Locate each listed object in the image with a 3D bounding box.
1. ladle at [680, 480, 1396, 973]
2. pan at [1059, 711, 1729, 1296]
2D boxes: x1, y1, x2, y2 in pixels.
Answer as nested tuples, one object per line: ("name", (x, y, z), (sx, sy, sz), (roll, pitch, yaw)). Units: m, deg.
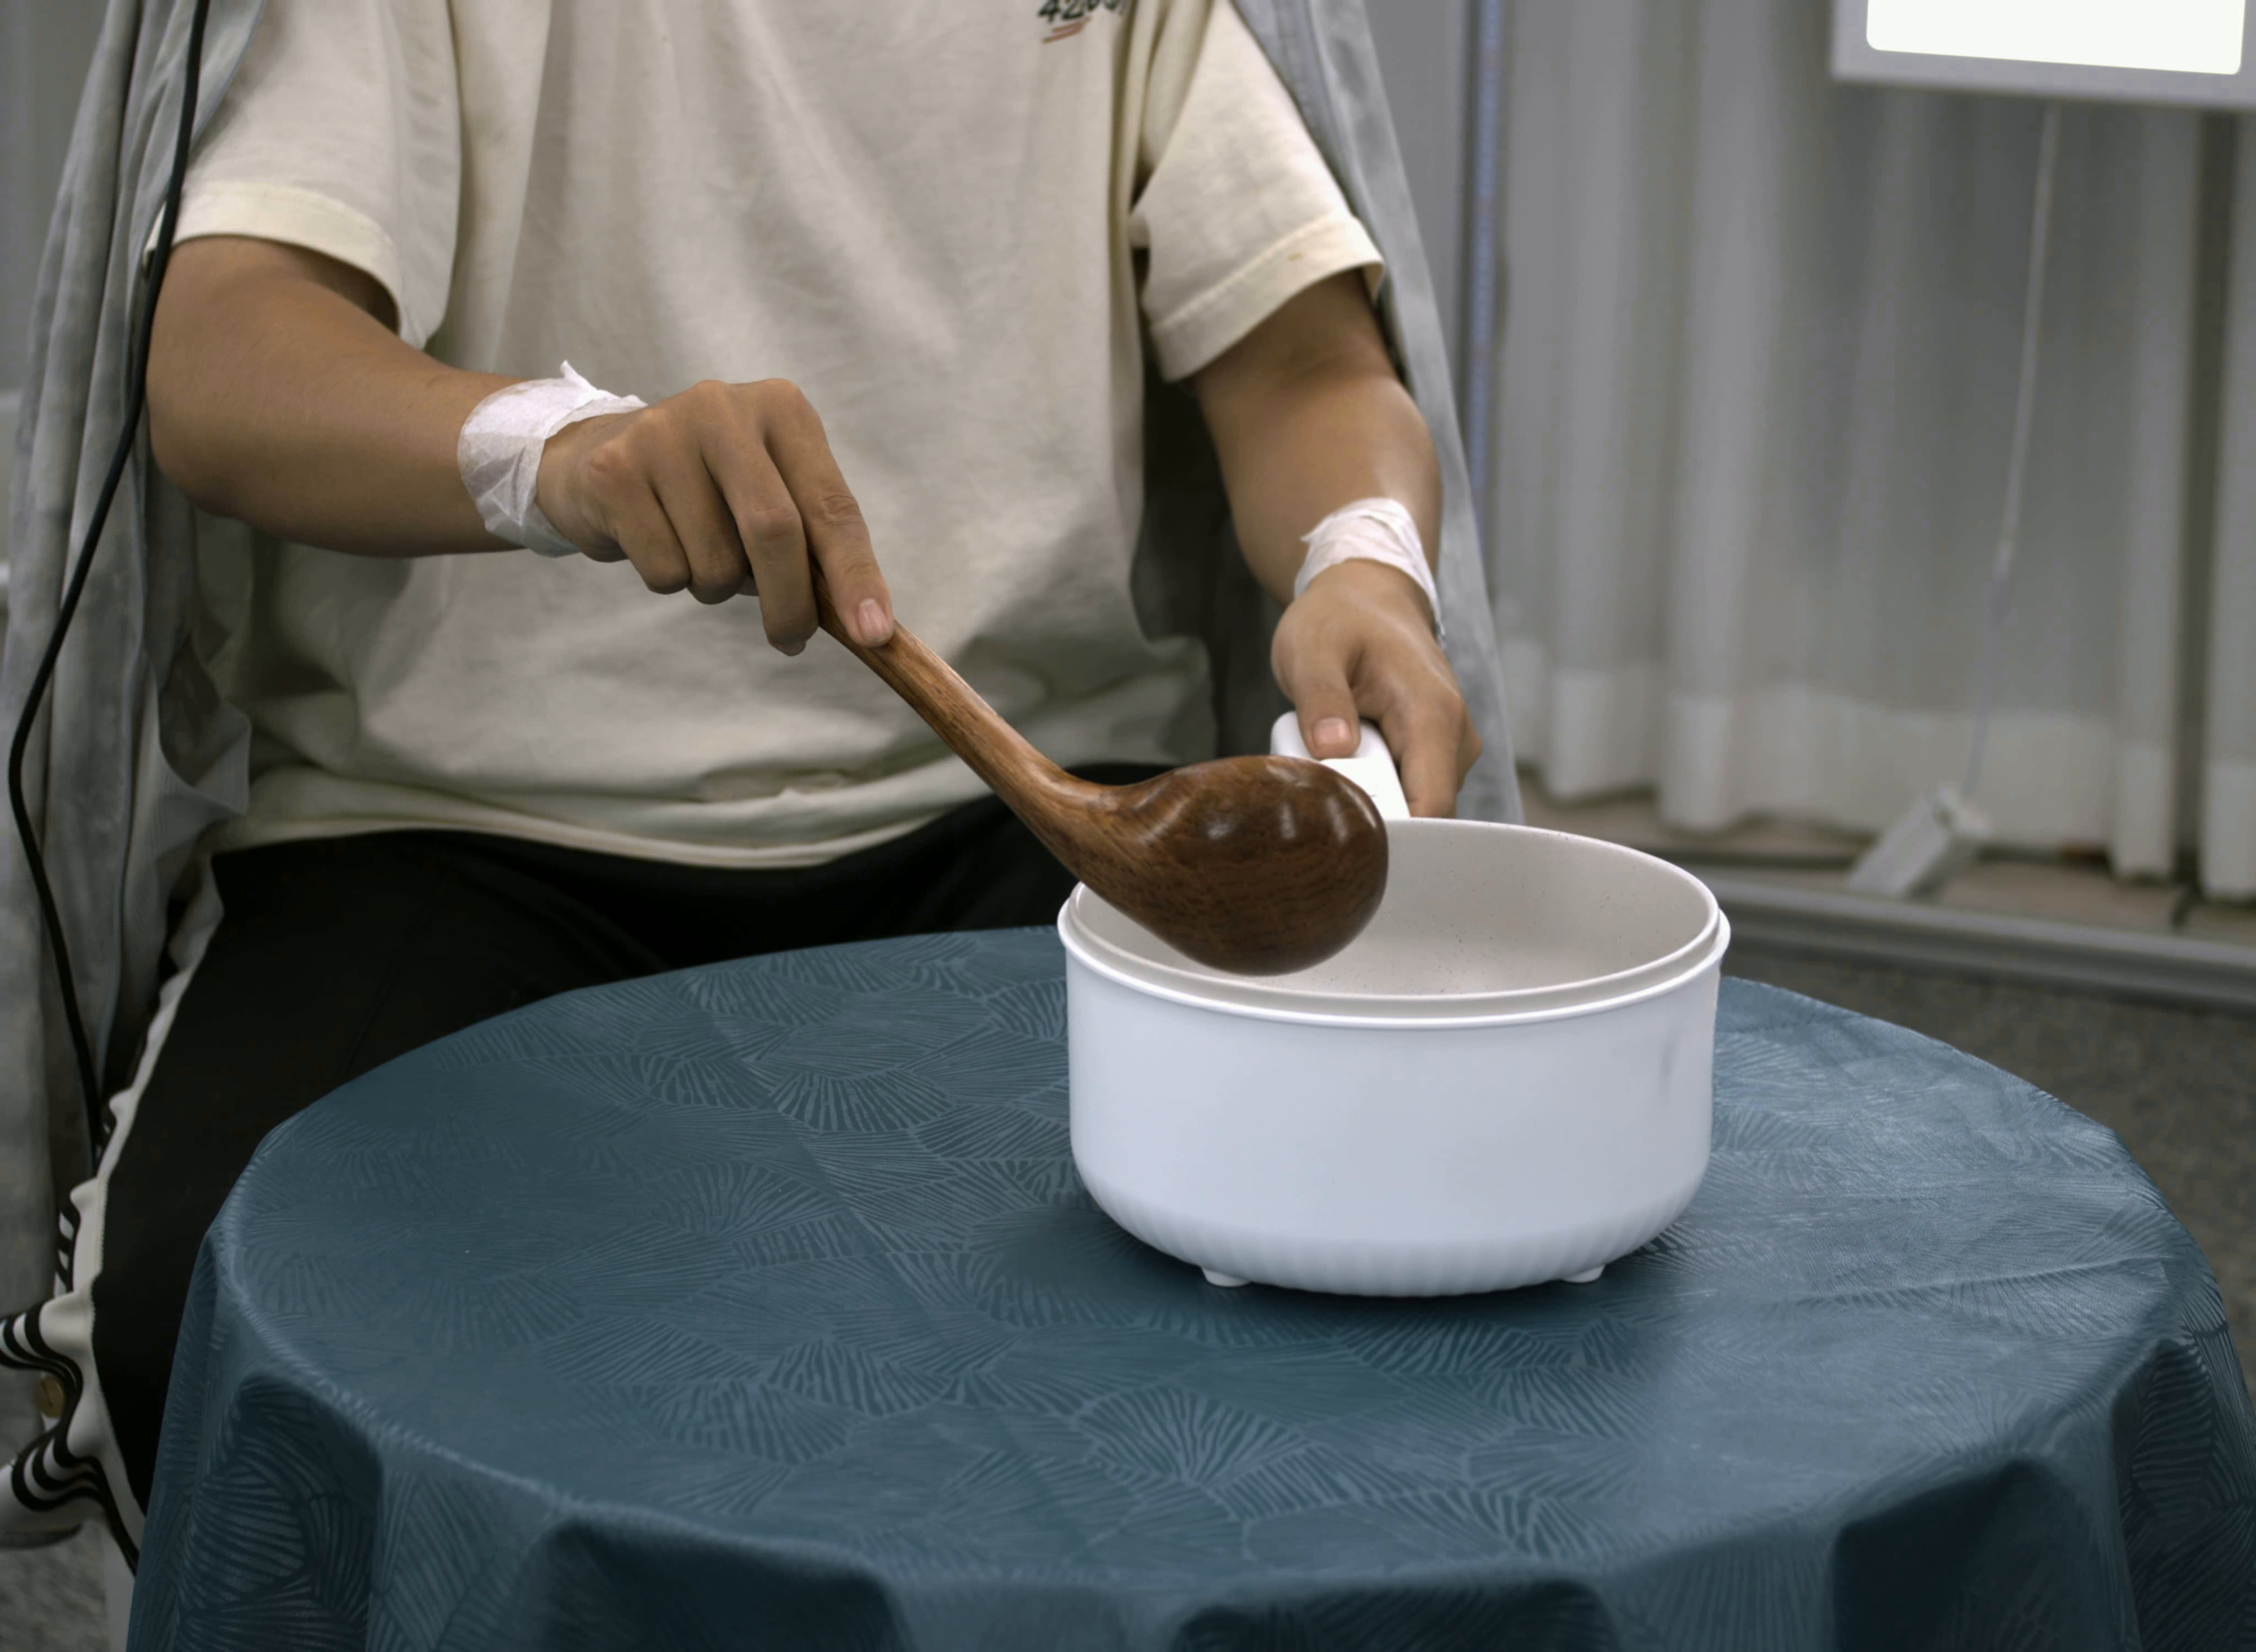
("ladle", (-0.028, -0.045, 1.598), (0.077, 0.083, 0.270), (-24, 47, -32))
("pan", (0.077, 0.051, 1.662), (0.201, 0.103, 0.352), (-1, 15, -2))
